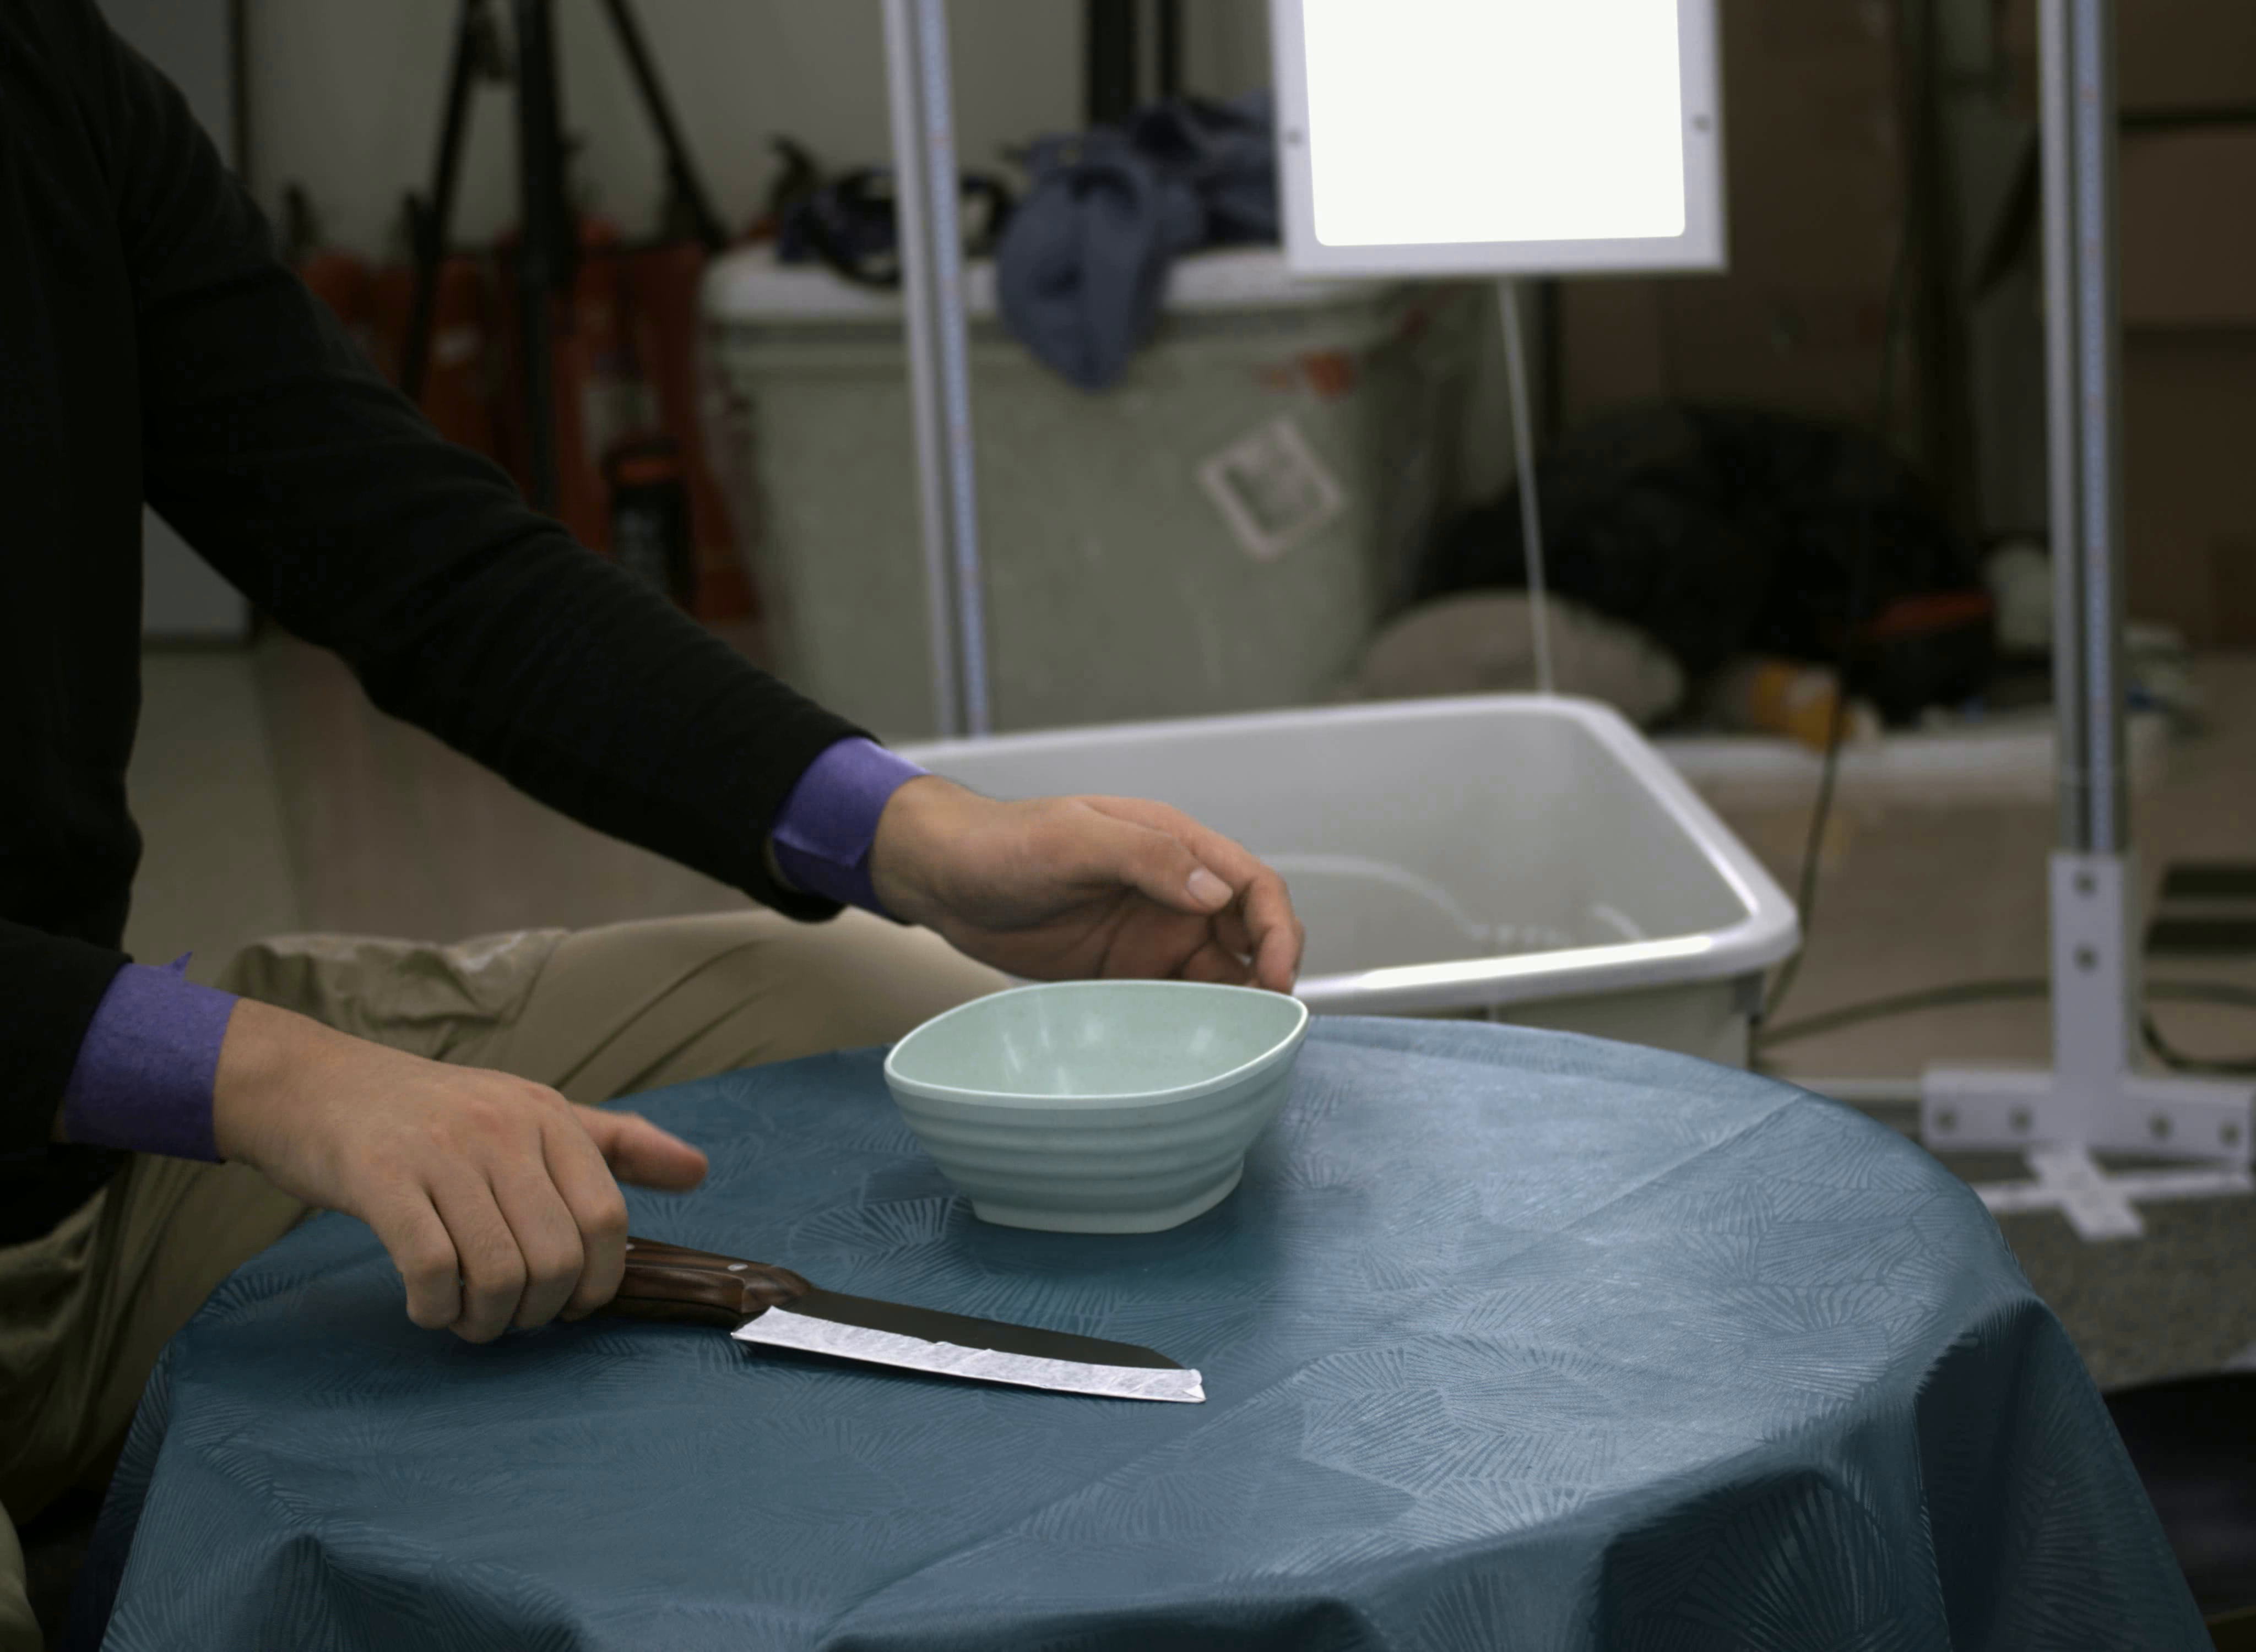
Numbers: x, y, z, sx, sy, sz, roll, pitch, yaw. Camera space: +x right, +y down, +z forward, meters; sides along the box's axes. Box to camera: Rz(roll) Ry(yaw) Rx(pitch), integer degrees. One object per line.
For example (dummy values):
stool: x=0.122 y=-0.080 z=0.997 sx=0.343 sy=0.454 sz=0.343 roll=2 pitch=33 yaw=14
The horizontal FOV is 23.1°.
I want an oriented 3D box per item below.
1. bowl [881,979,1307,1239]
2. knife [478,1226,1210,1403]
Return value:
bowl: x=-0.010 y=0.100 z=1.893 sx=0.151 sy=0.059 sz=0.151 roll=-4 pitch=15 yaw=0
knife: x=-0.095 y=0.159 z=1.772 sx=0.295 sy=0.020 sz=0.049 roll=7 pitch=22 yaw=34
